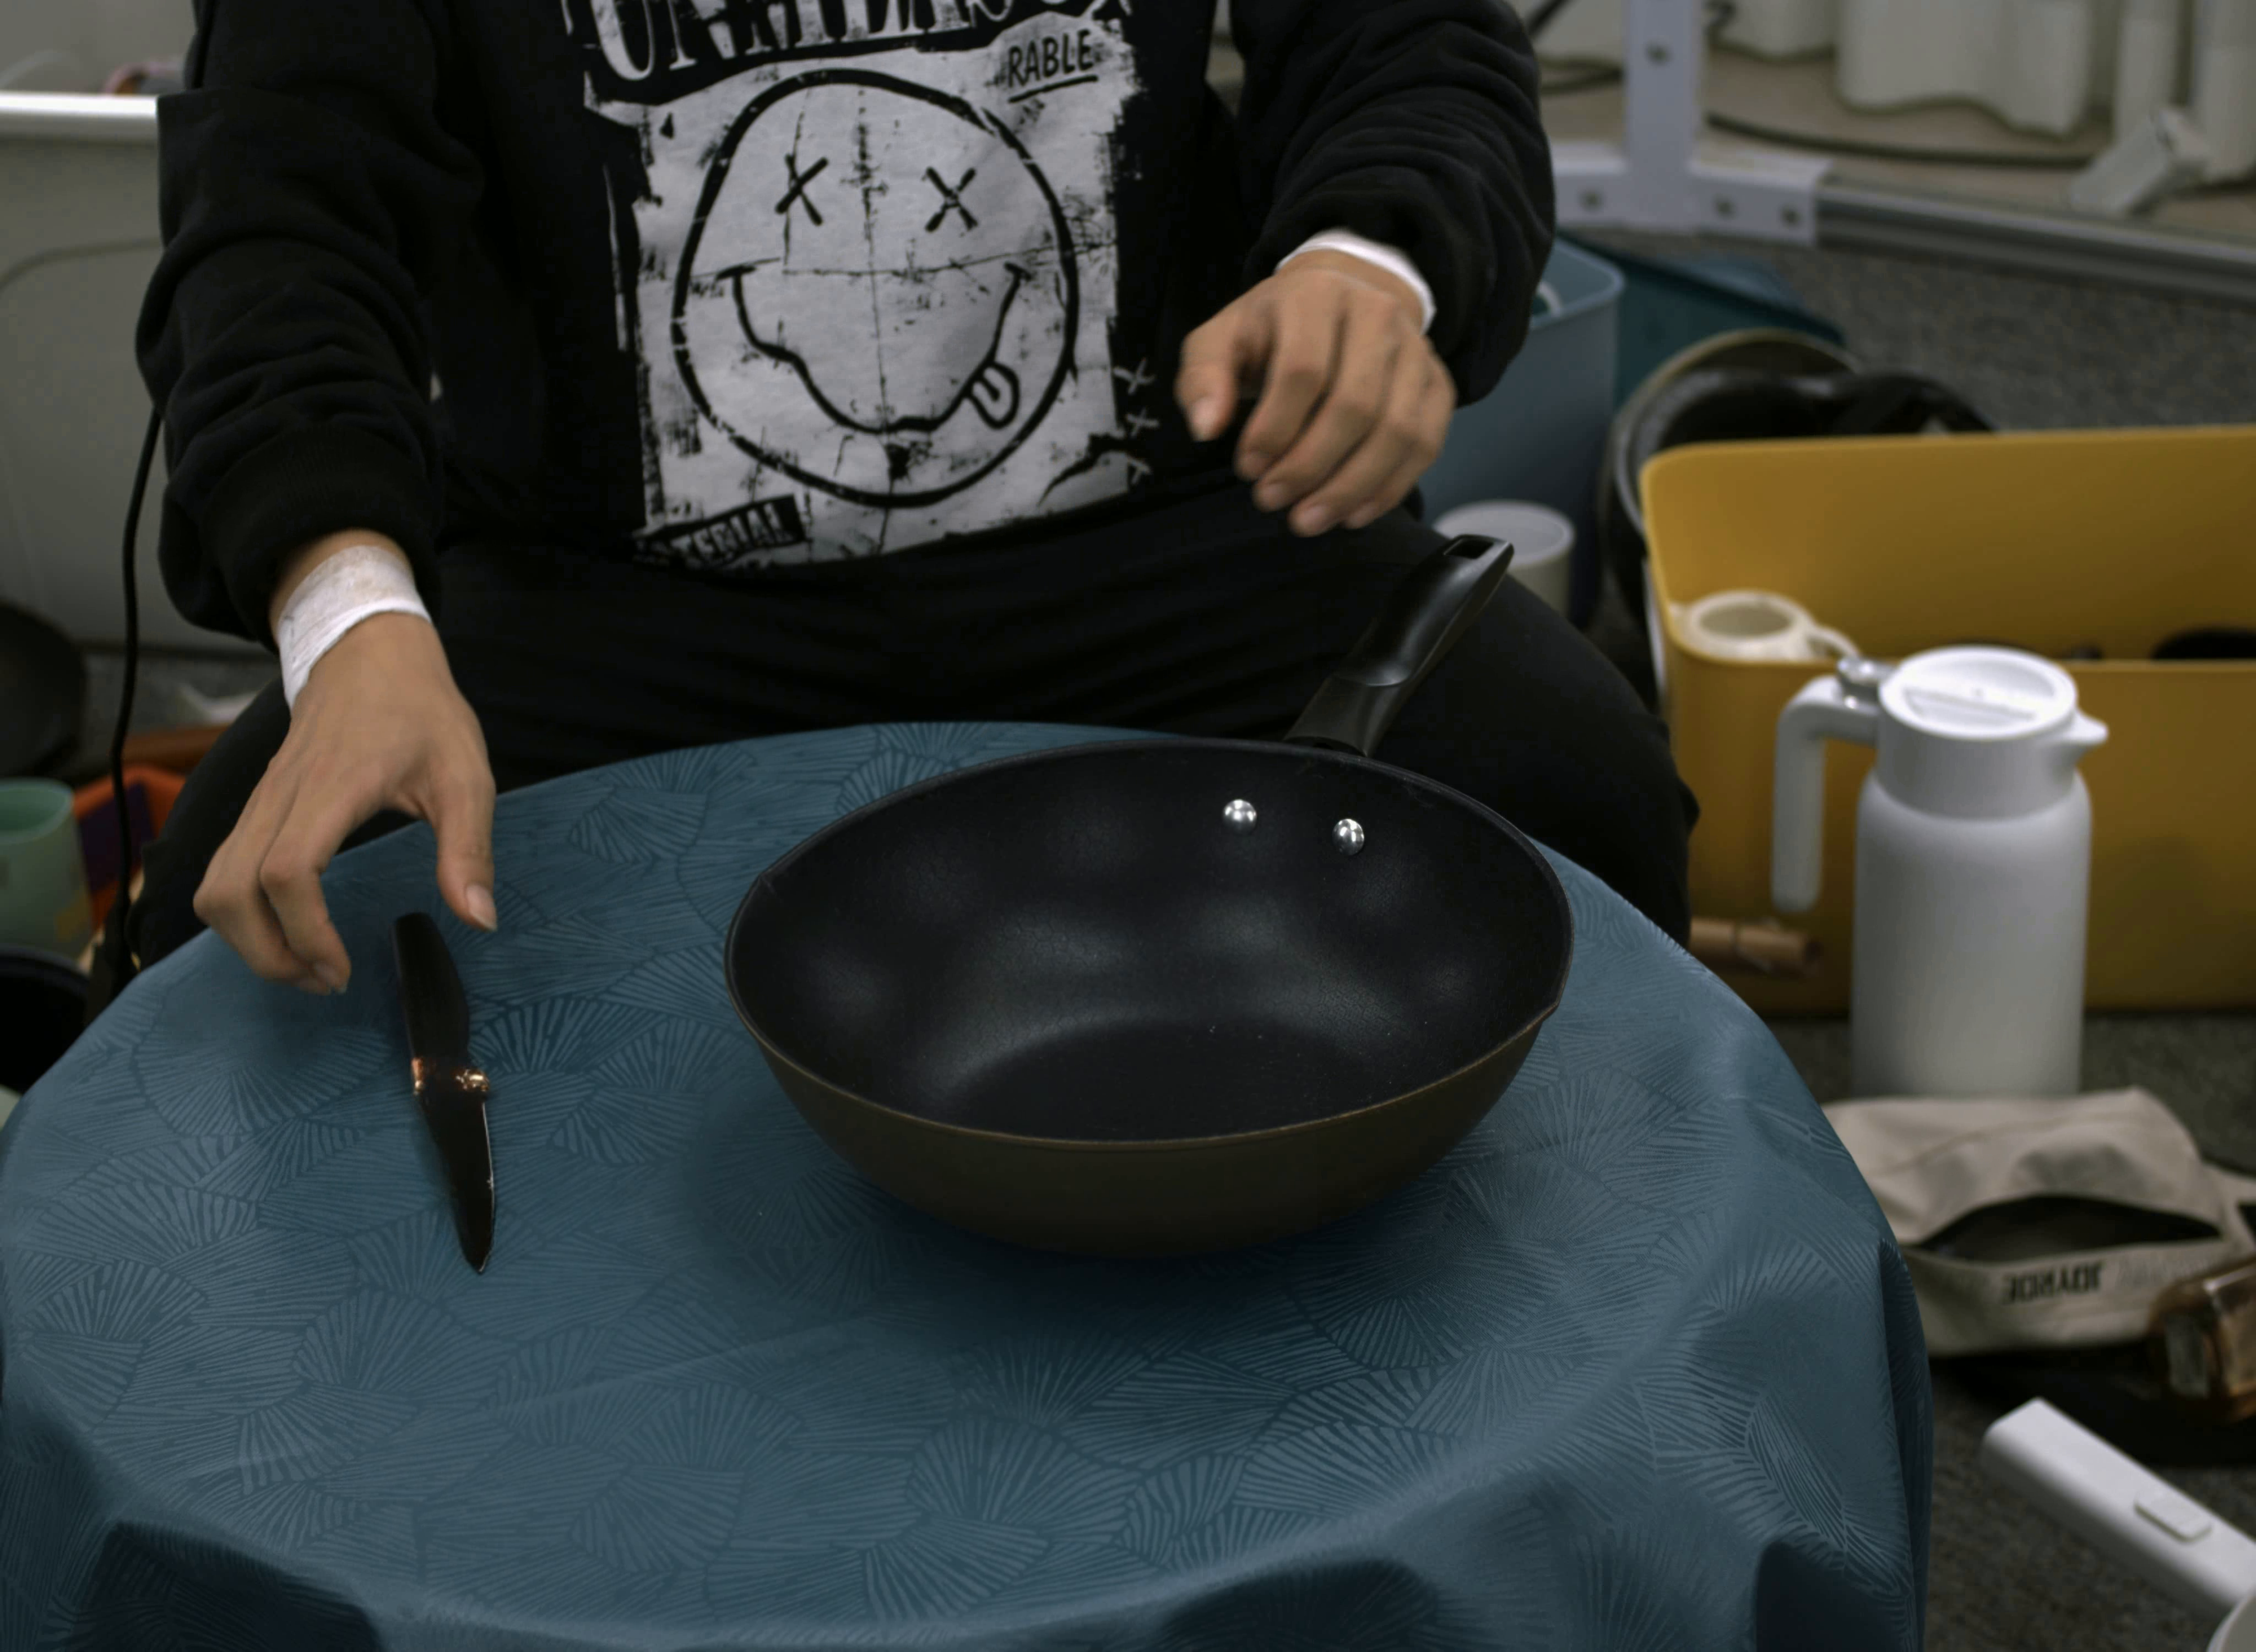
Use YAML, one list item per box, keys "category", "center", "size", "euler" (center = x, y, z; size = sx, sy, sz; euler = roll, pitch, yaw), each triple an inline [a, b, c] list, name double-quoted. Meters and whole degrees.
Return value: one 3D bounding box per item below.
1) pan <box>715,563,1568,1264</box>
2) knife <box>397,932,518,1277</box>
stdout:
- category: "pan"
  center: [0.042, 0.031, 1.945]
  size: [0.286, 0.086, 0.471]
  euler: [9, 28, 22]
- category: "knife"
  center: [-0.231, 0.095, 1.925]
  size: [0.026, 0.017, 0.228]
  euler: [6, 26, -16]
